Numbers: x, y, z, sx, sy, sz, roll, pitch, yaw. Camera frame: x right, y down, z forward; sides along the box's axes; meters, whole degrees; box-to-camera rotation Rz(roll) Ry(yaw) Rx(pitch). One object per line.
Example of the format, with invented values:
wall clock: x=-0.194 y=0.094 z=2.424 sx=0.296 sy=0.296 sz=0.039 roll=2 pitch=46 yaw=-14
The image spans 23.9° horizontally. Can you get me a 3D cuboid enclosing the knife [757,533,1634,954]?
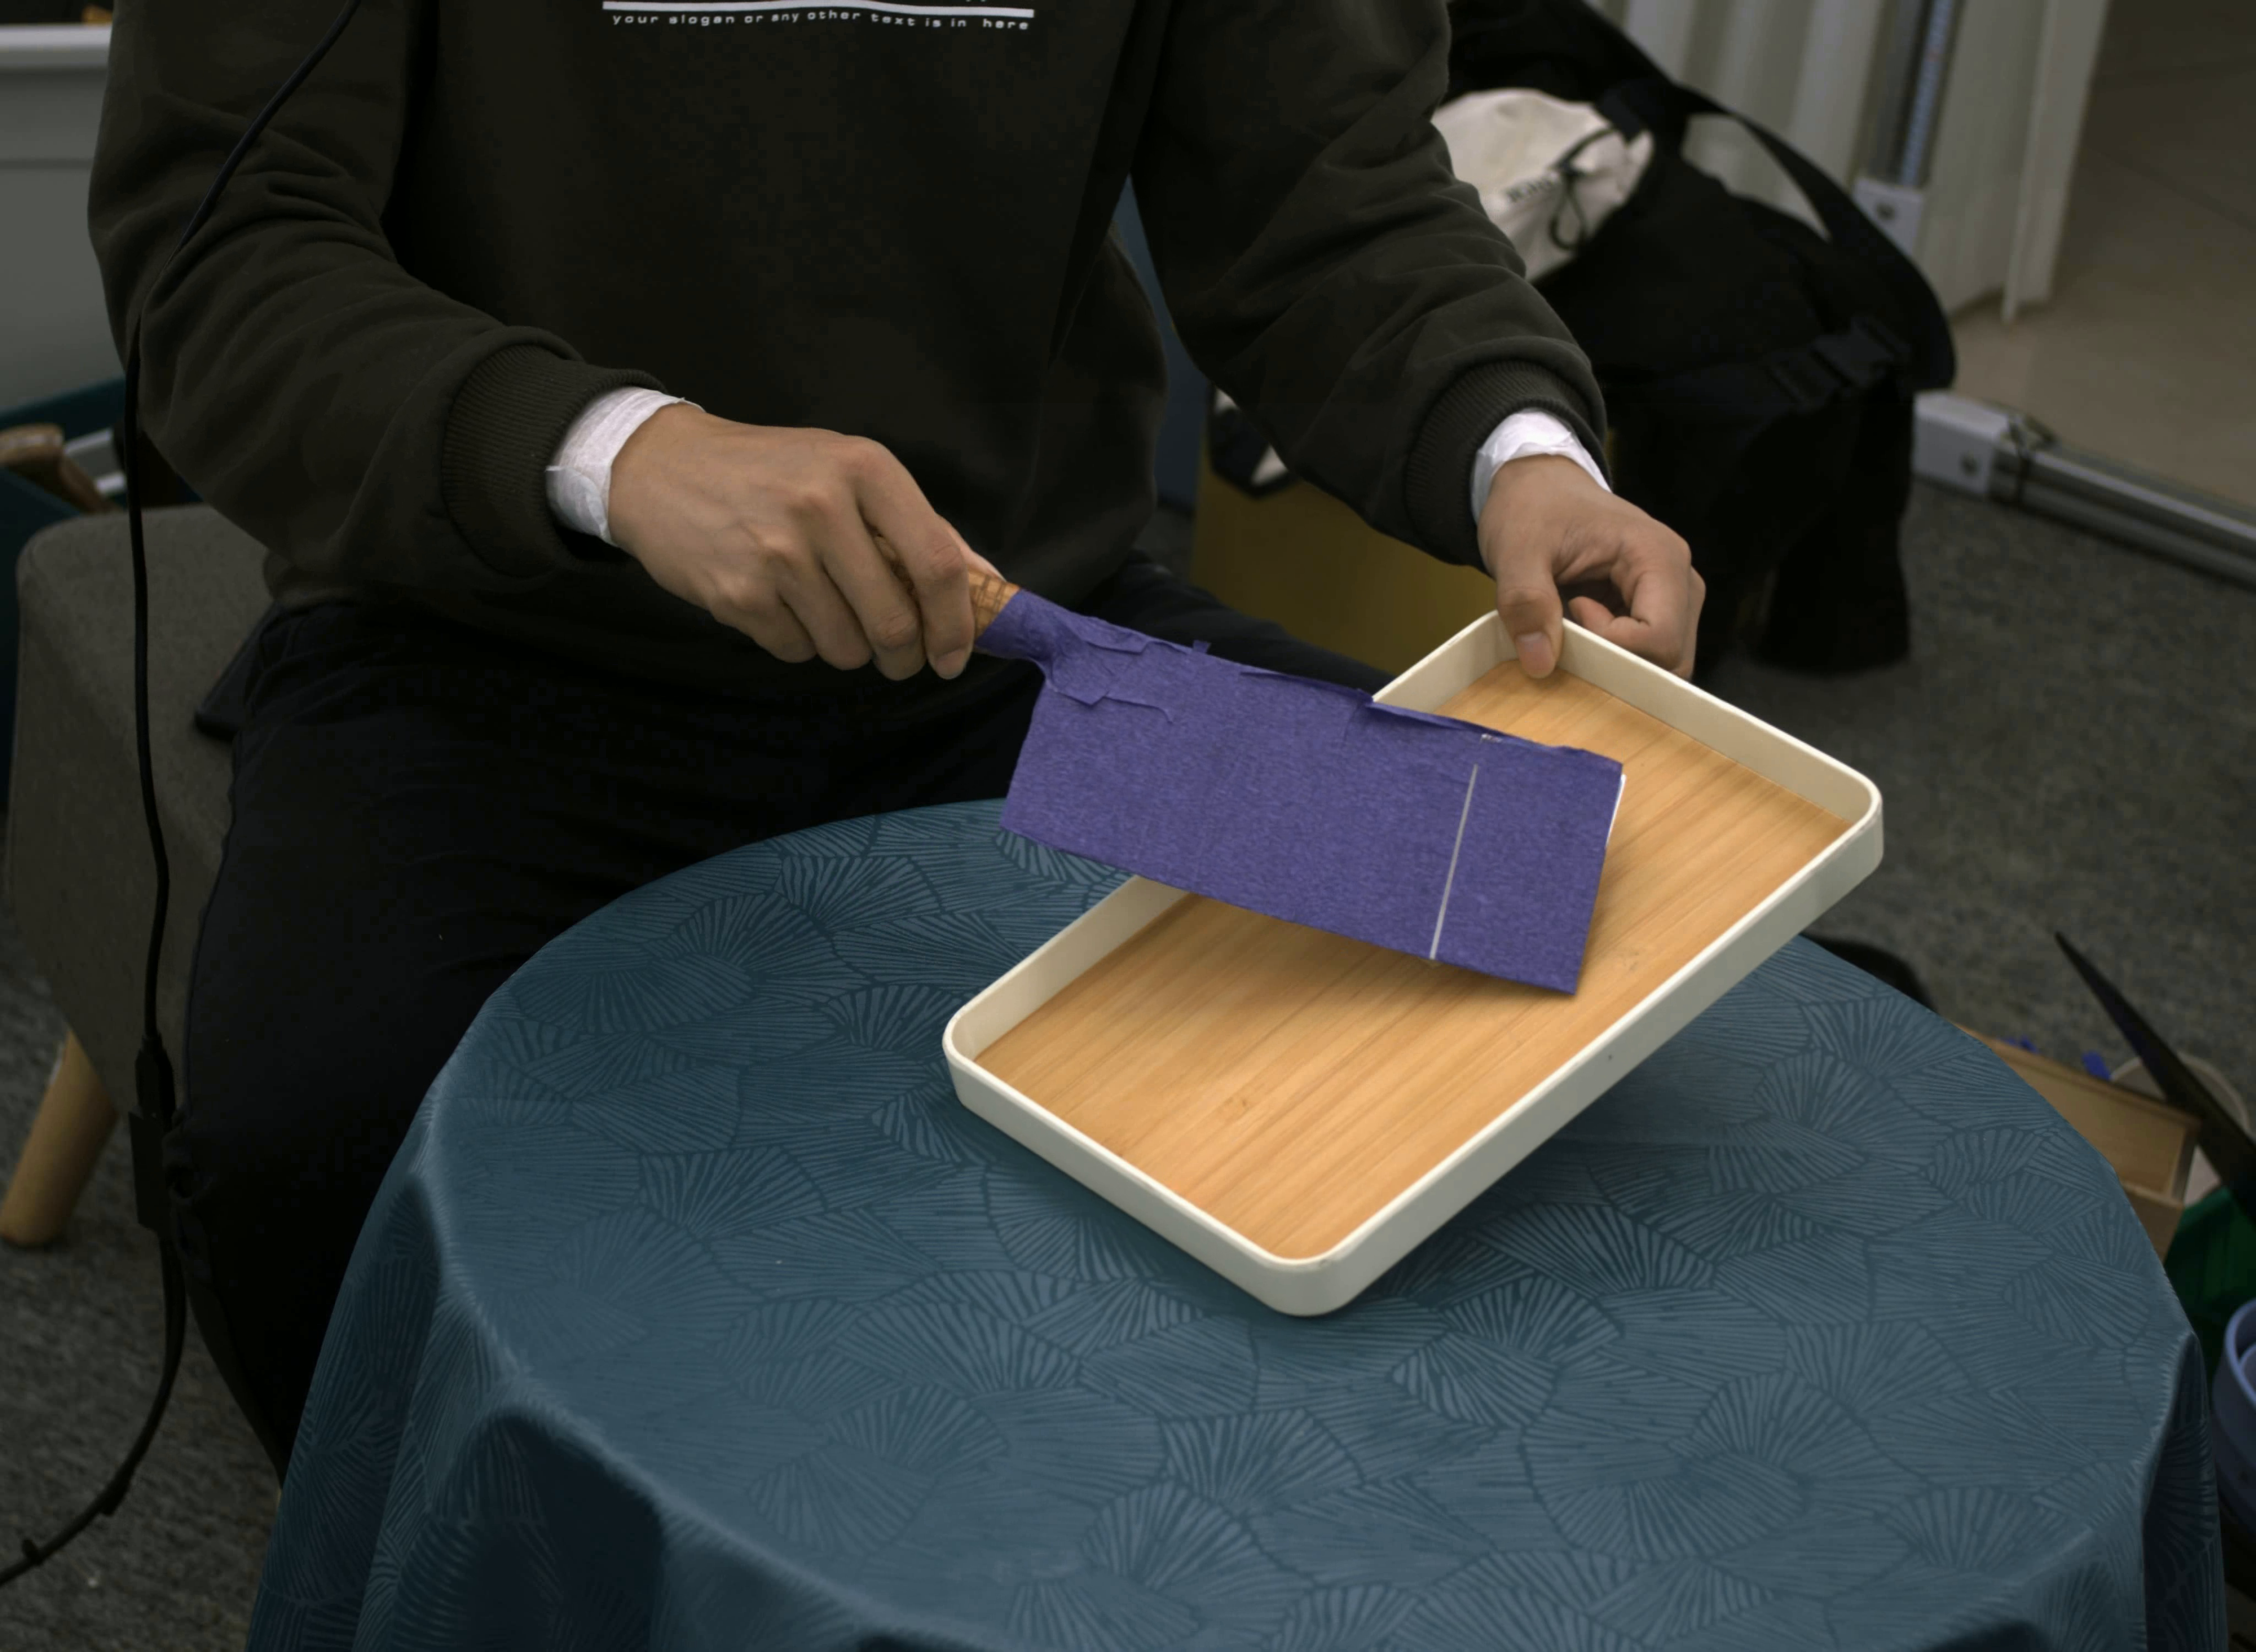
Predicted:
knife: x=0.016 y=-0.028 z=1.852 sx=0.315 sy=0.032 sz=0.104 roll=14 pitch=63 yaw=5

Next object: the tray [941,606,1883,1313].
tray: x=0.100 y=0.040 z=1.853 sx=0.300 sy=0.027 sz=0.193 roll=-36 pitch=45 yaw=-26
